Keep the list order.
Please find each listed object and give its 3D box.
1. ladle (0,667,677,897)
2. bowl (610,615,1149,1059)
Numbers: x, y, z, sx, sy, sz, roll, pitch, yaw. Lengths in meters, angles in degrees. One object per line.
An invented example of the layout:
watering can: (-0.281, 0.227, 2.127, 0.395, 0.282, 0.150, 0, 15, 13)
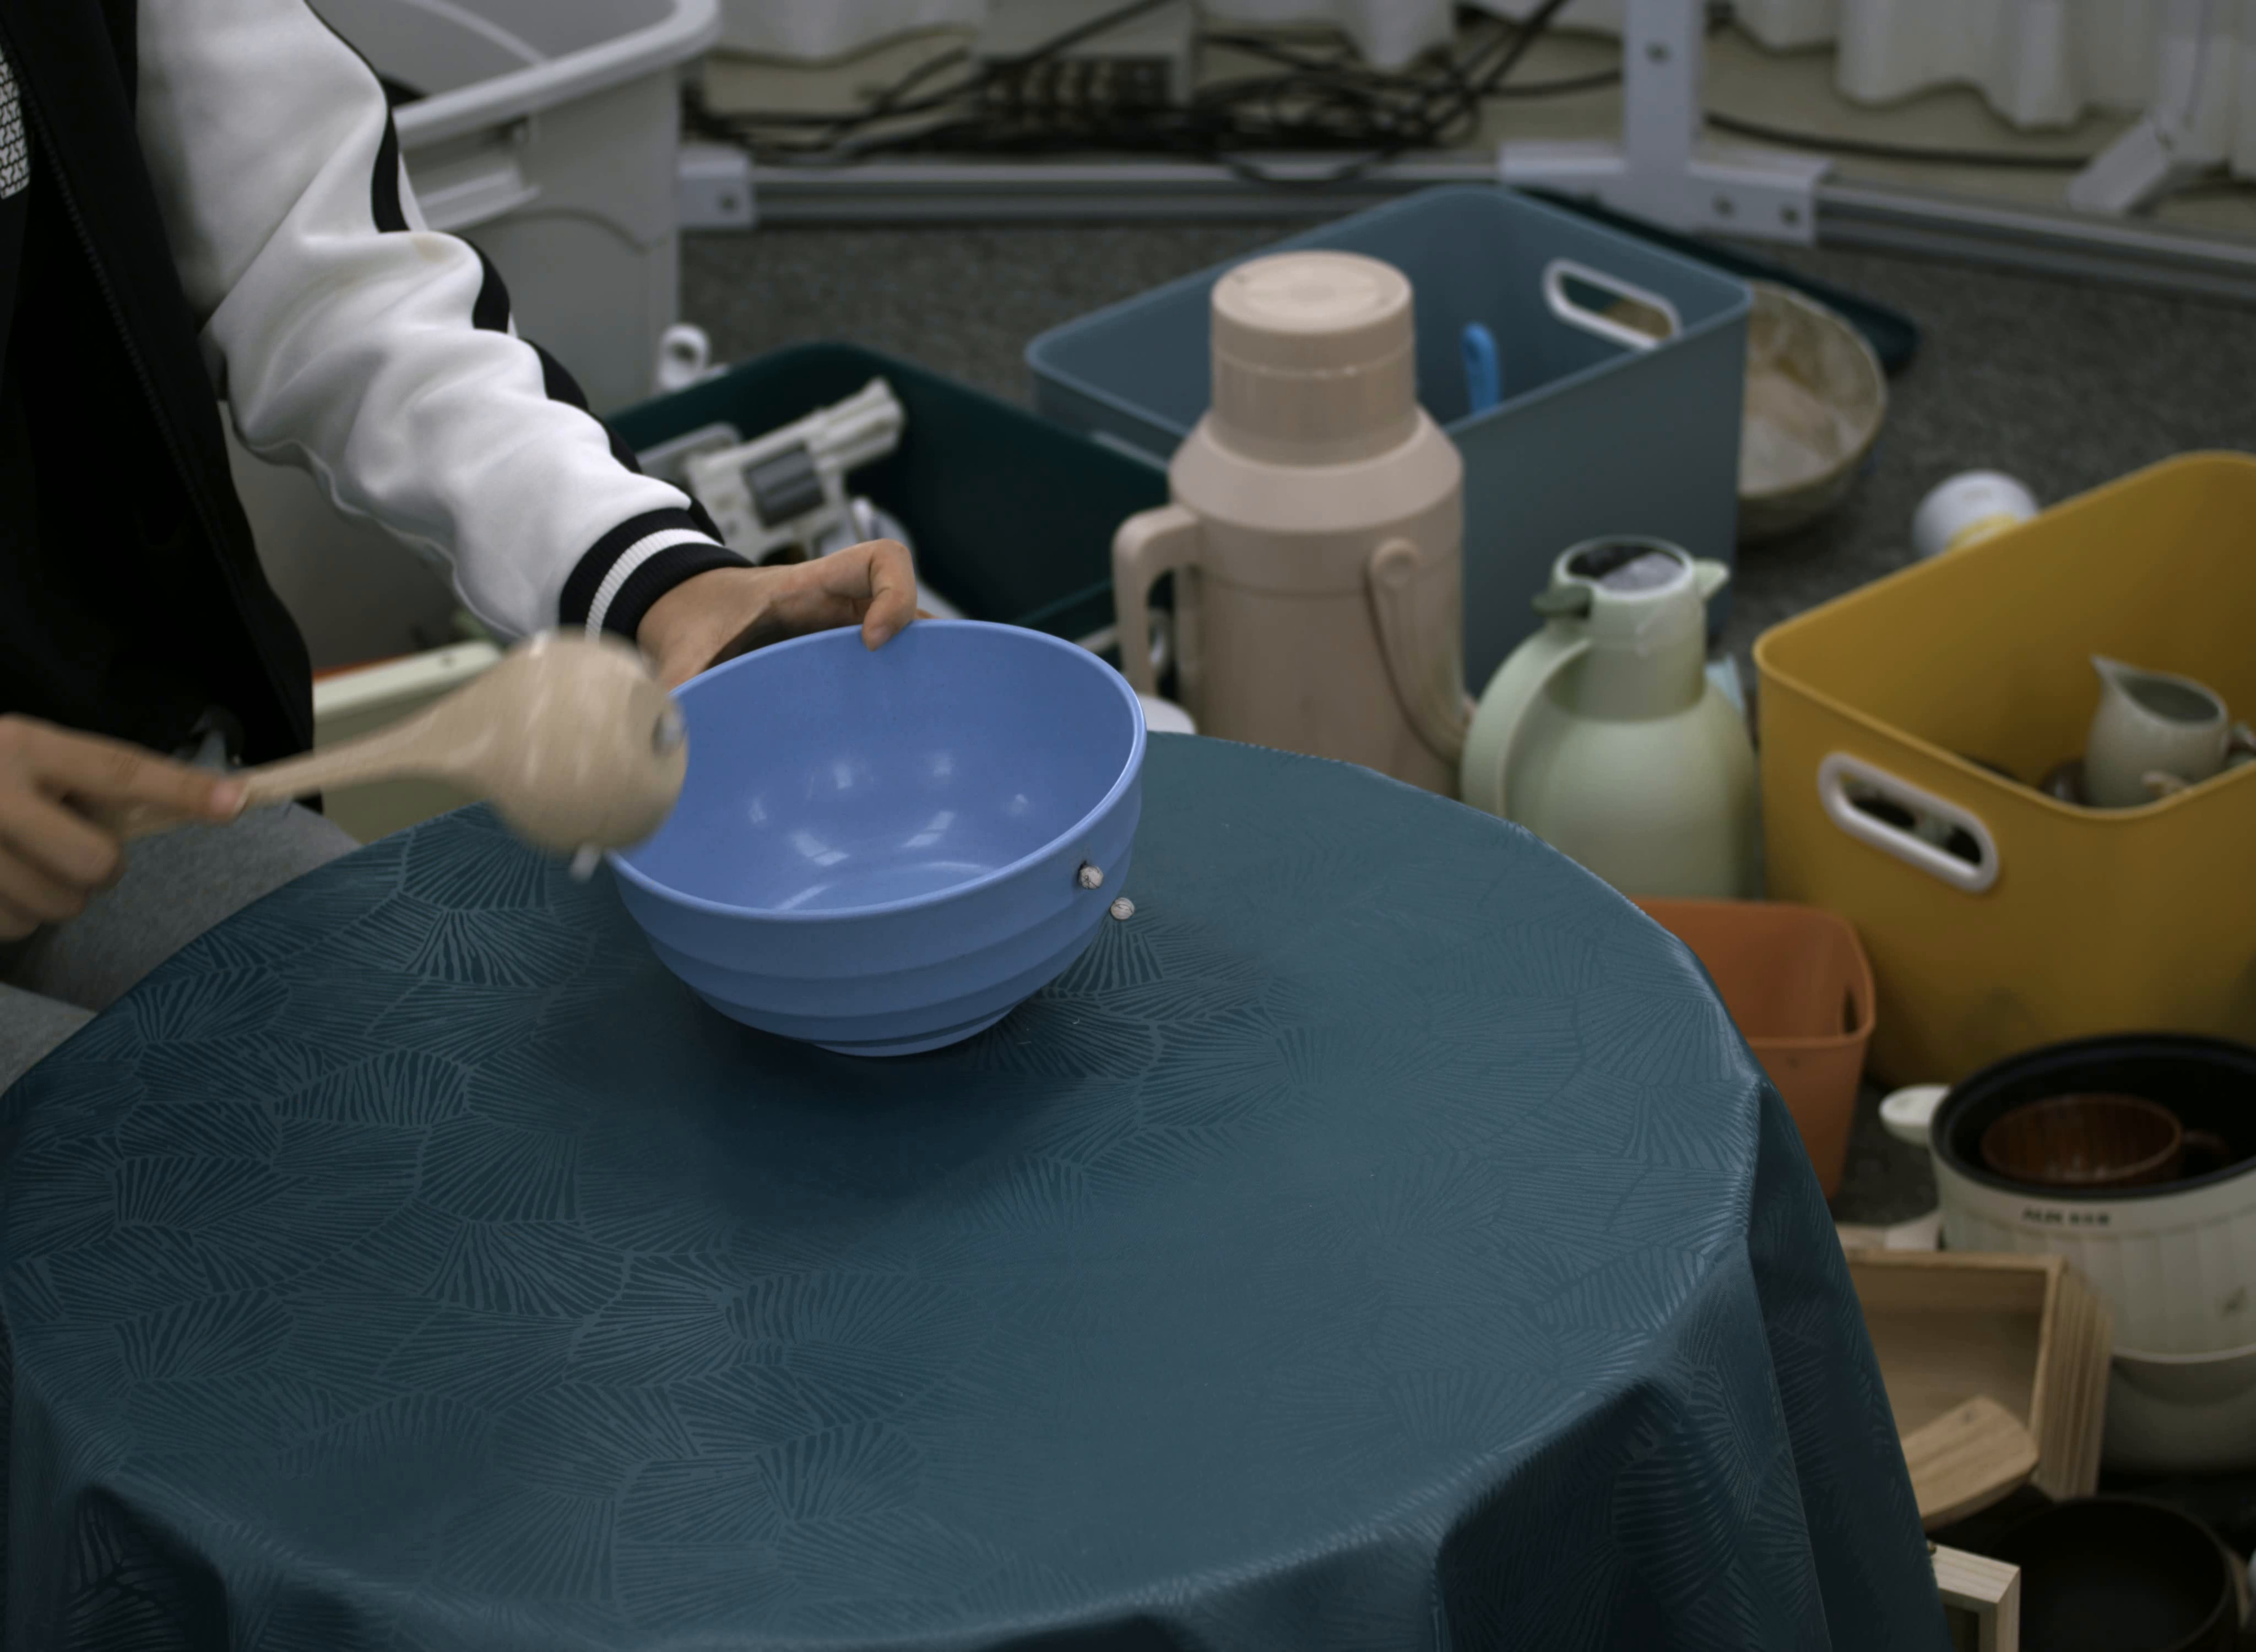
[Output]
ladle: (-0.260, 0.001, 1.801, 0.251, 0.073, 0.072, -9, -22, 28)
bowl: (-0.083, 0.017, 1.964, 0.195, 0.094, 0.200, -6, 31, 4)
